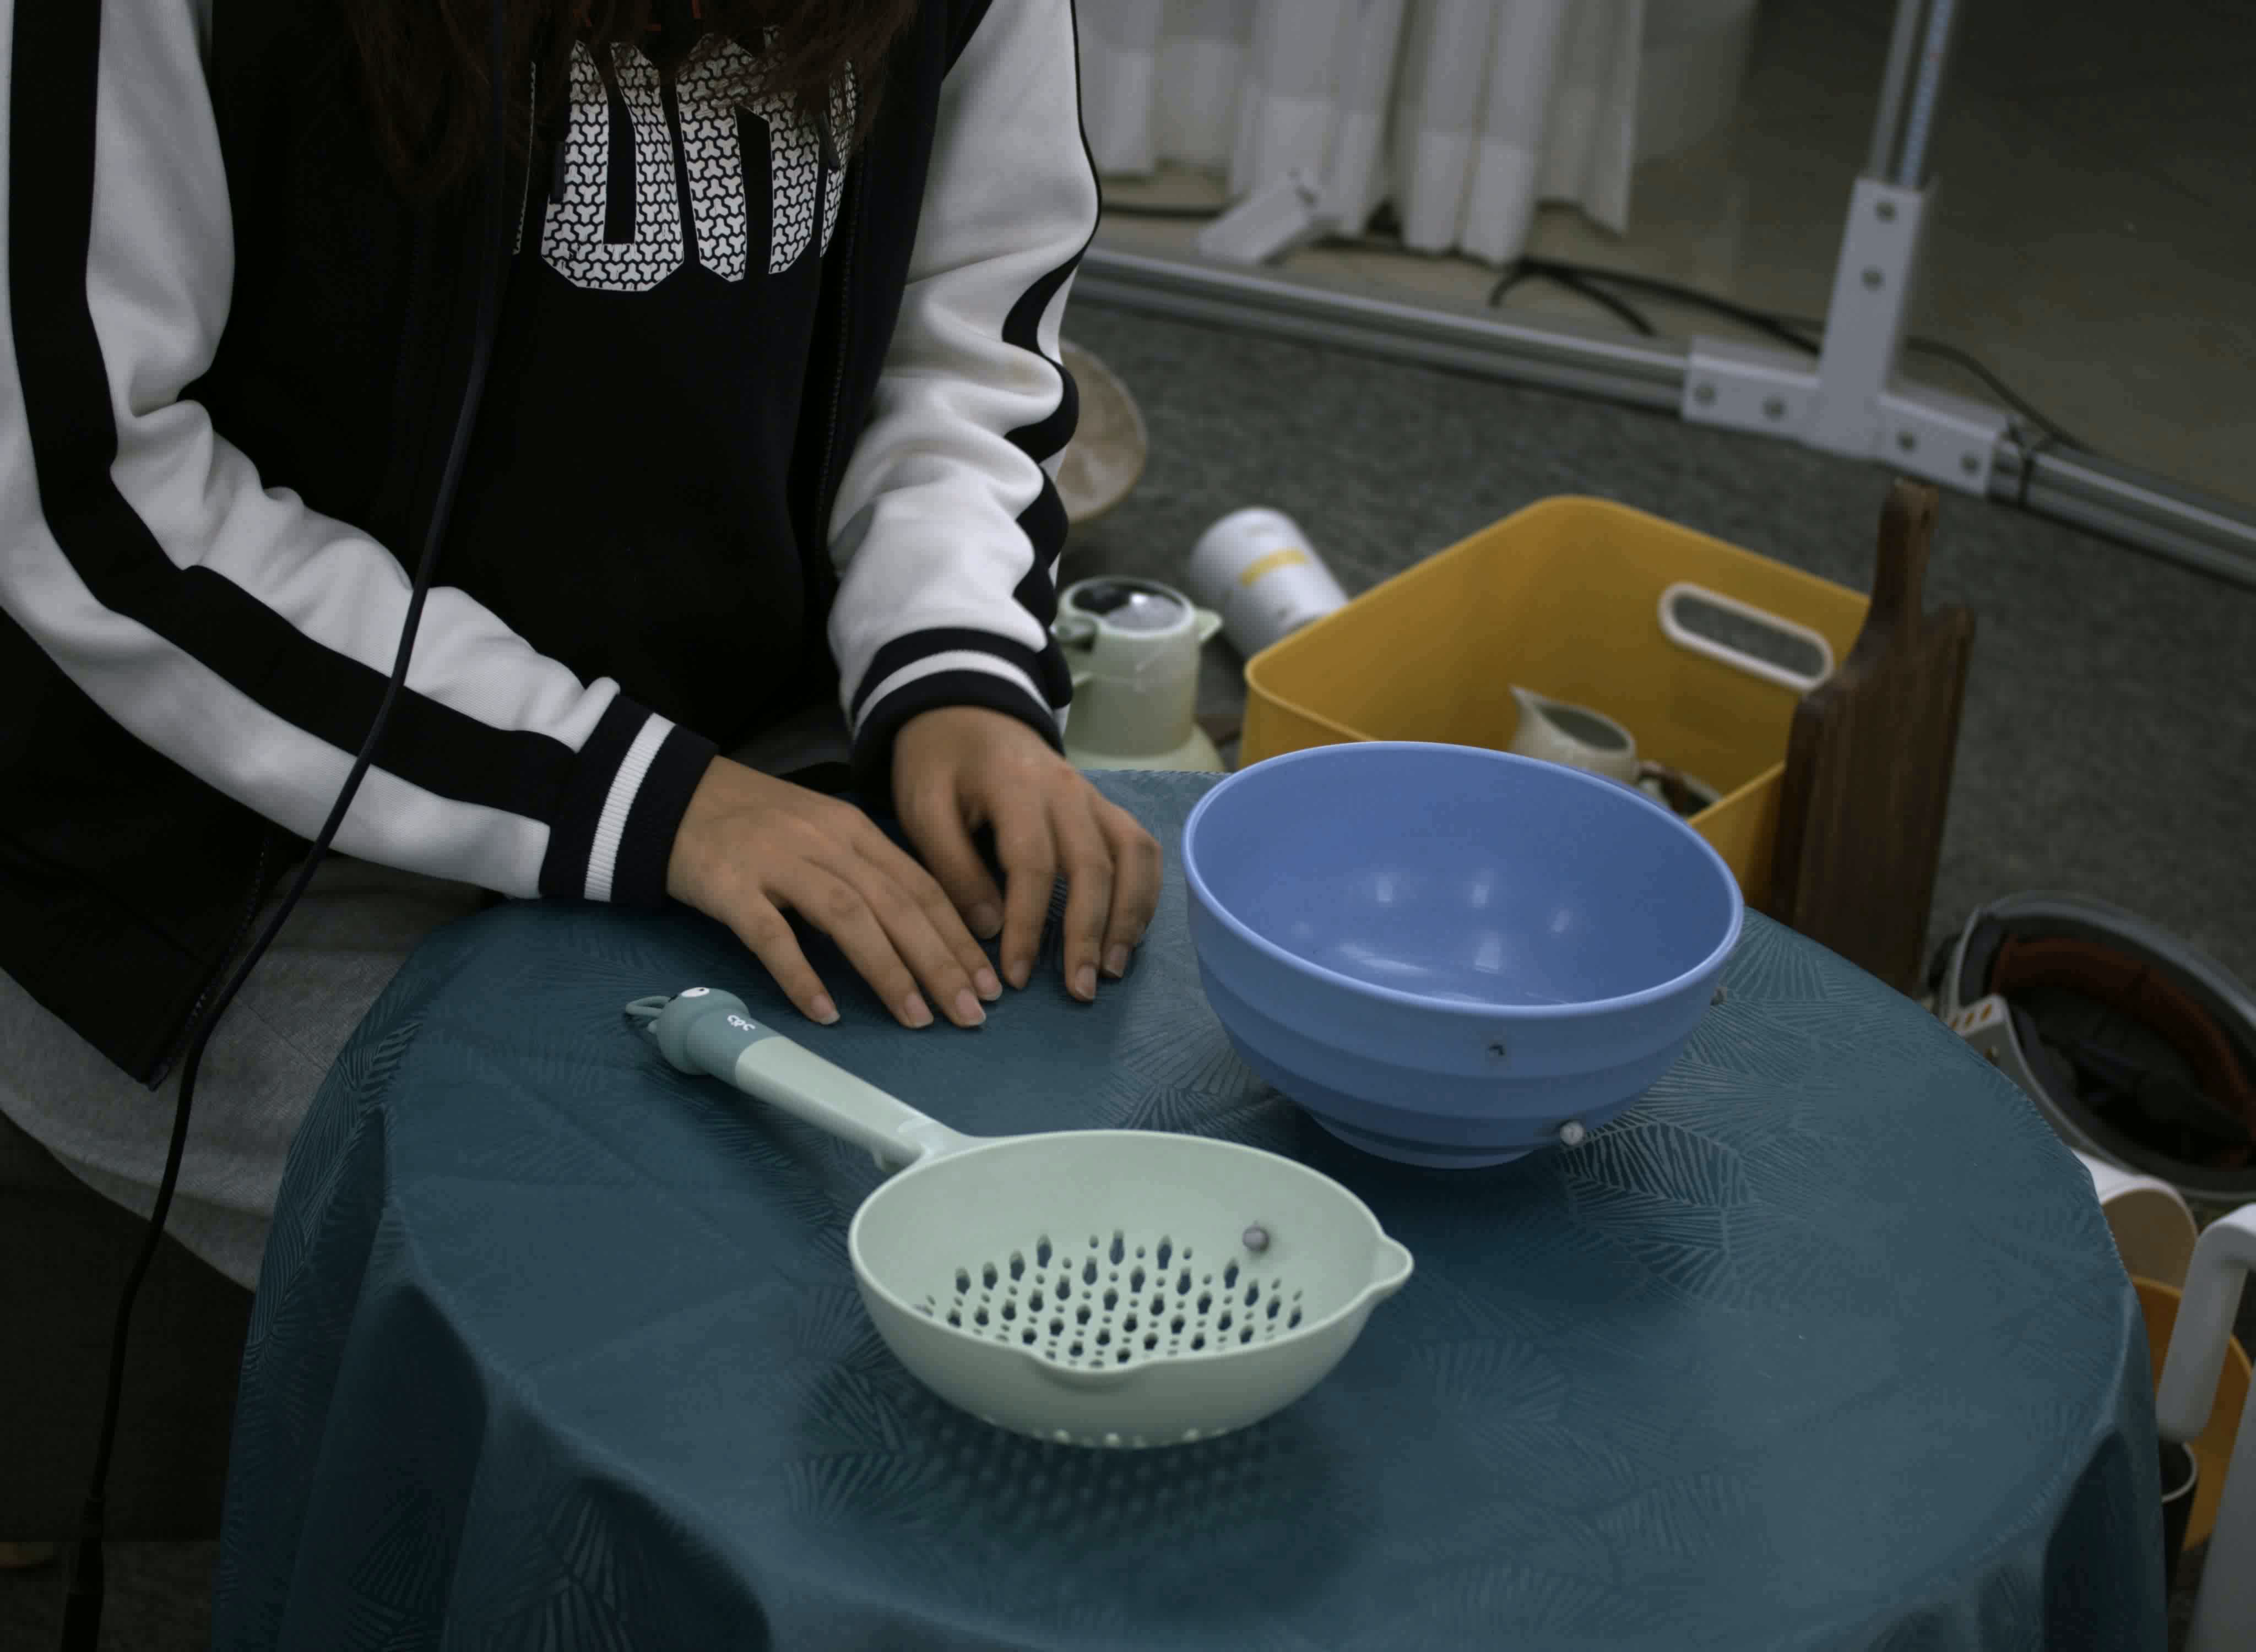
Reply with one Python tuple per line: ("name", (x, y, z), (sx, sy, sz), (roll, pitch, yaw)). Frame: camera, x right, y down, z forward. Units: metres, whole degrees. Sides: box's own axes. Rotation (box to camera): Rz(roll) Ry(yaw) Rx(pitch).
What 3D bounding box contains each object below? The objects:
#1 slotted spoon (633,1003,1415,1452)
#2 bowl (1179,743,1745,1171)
("slotted spoon", (-0.062, 0.115, 1.740), (0.168, 0.075, 0.362), (-13, 31, -35))
("bowl", (0.111, 0.056, 1.855), (0.196, 0.095, 0.198), (4, 27, -3))
